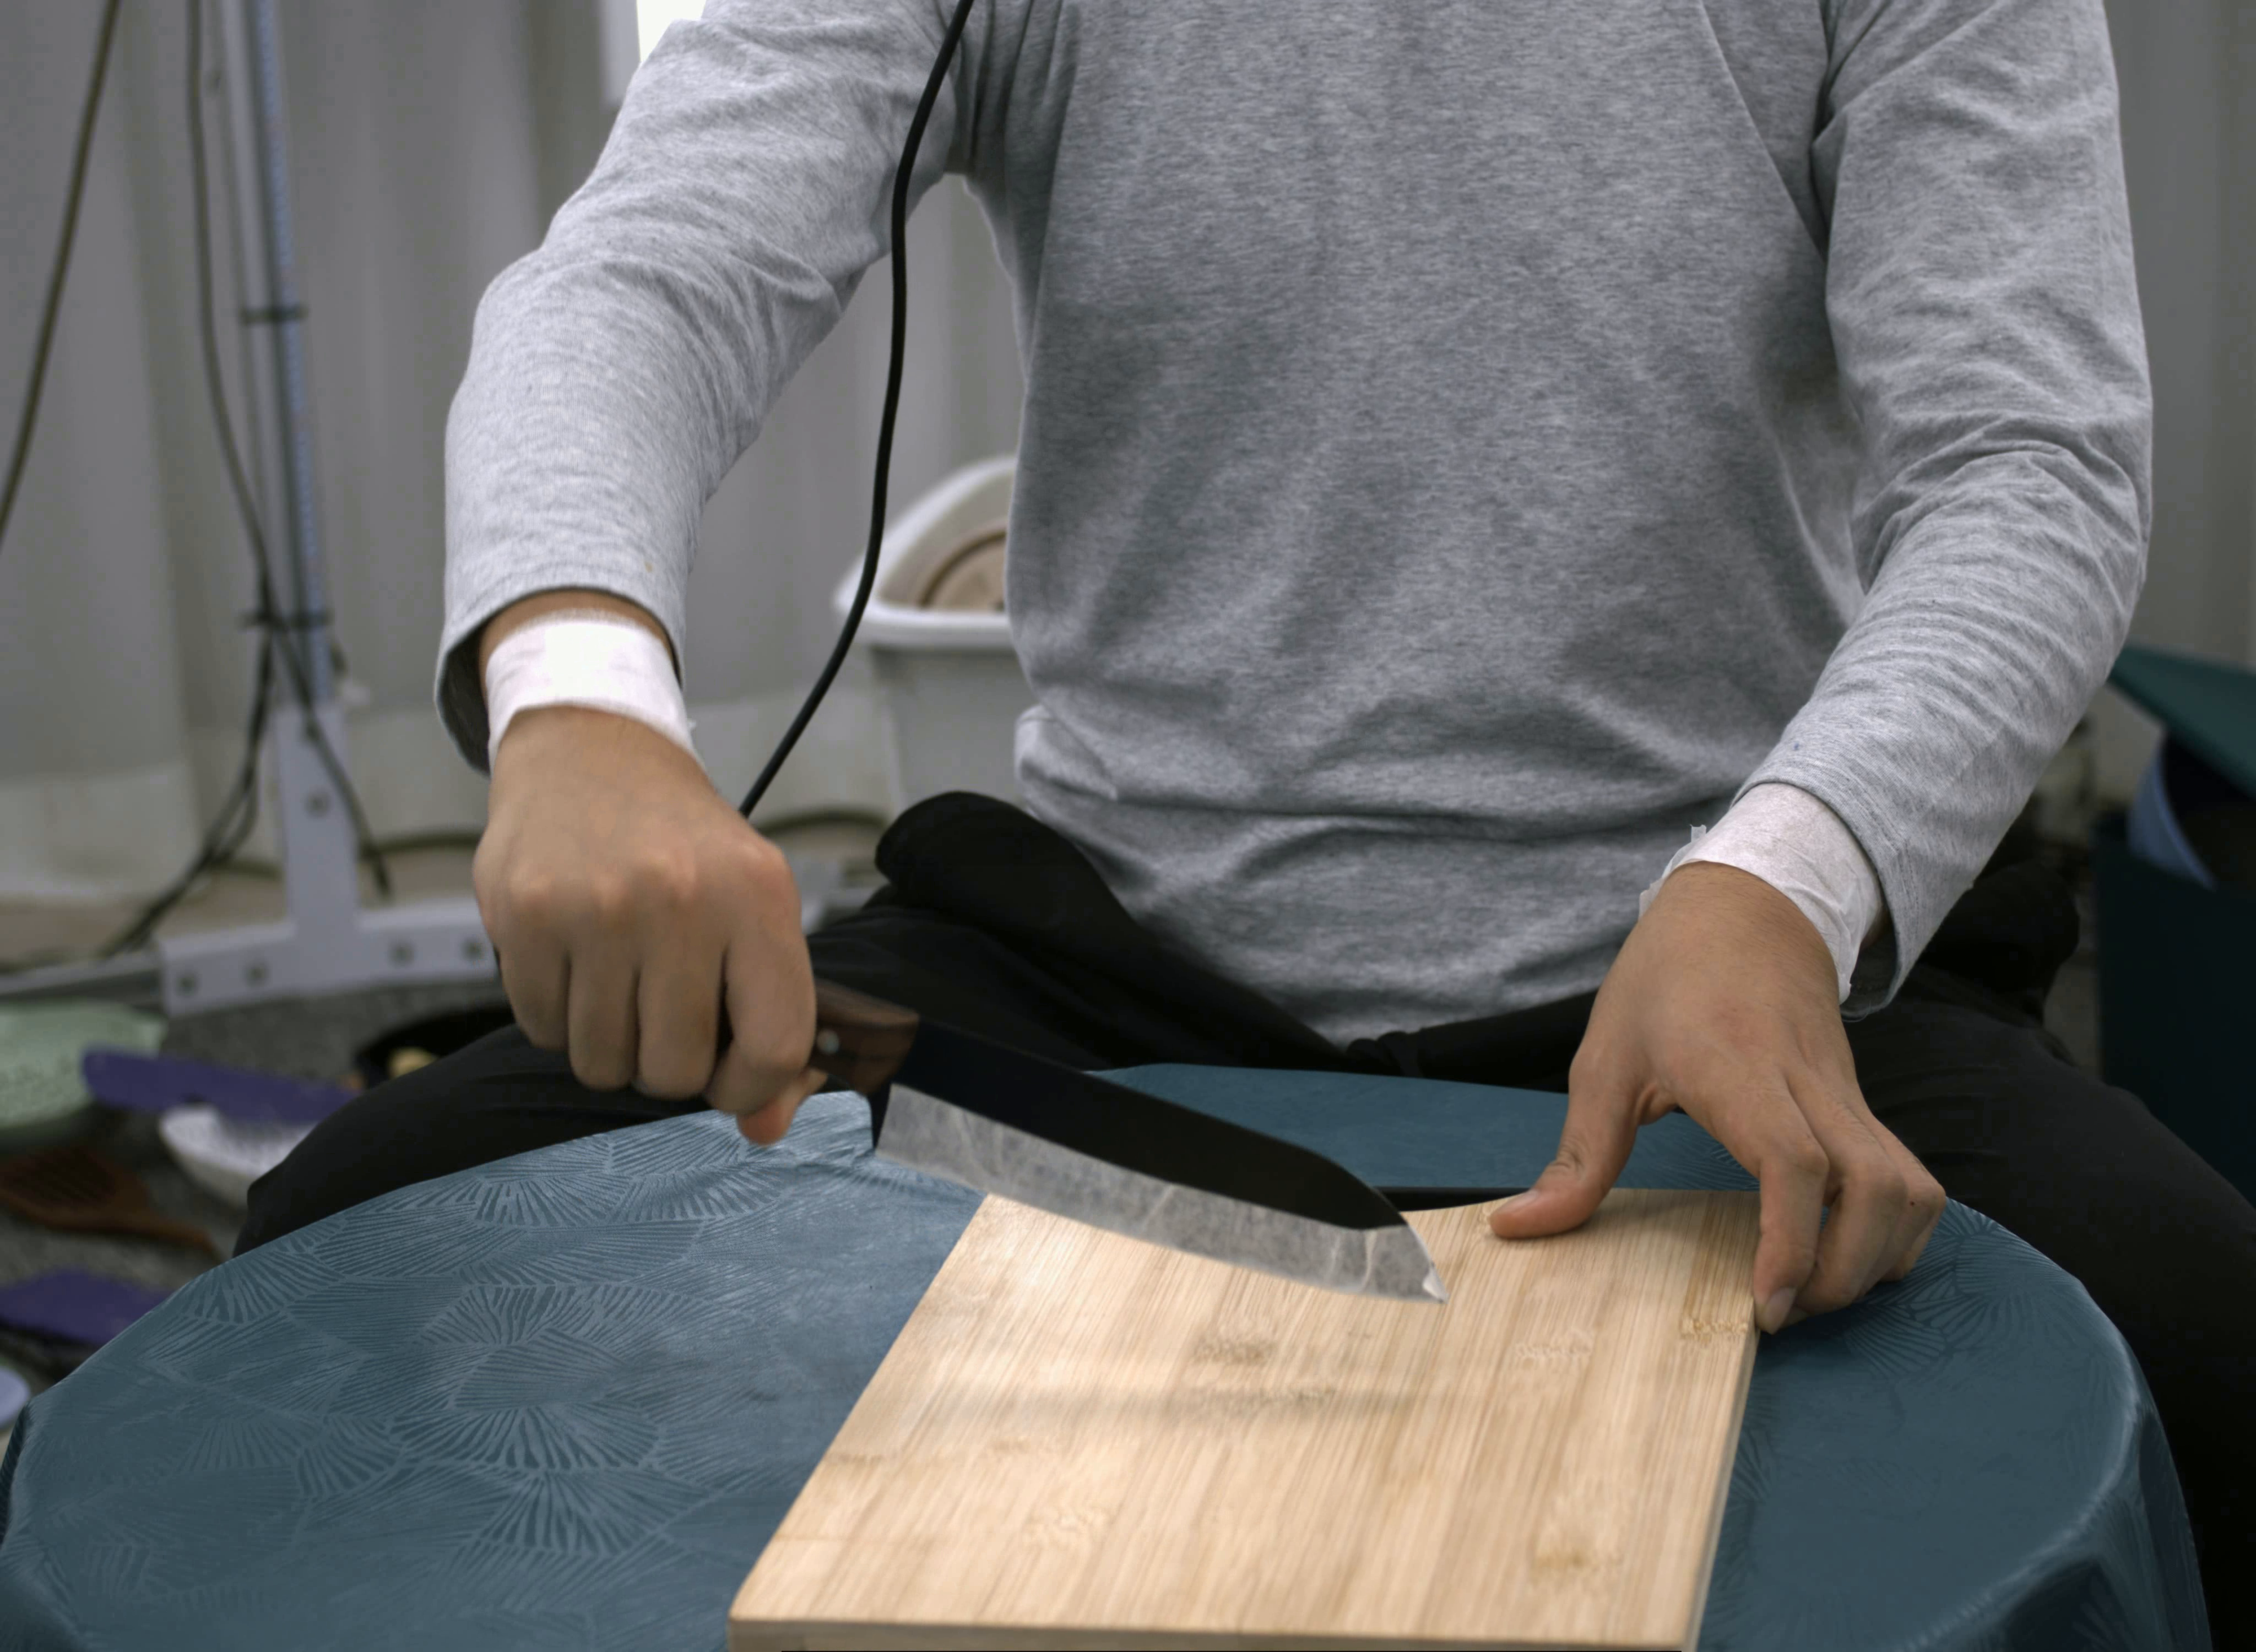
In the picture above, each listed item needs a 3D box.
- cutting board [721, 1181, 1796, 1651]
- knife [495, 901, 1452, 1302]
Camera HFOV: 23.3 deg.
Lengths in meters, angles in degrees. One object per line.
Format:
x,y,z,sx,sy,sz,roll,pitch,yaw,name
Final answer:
0.049,0.161,1.503,0.250,0.023,0.350,0,15,10,cutting board
-0.045,0.077,1.514,0.289,0.050,0.020,20,22,11,knife
